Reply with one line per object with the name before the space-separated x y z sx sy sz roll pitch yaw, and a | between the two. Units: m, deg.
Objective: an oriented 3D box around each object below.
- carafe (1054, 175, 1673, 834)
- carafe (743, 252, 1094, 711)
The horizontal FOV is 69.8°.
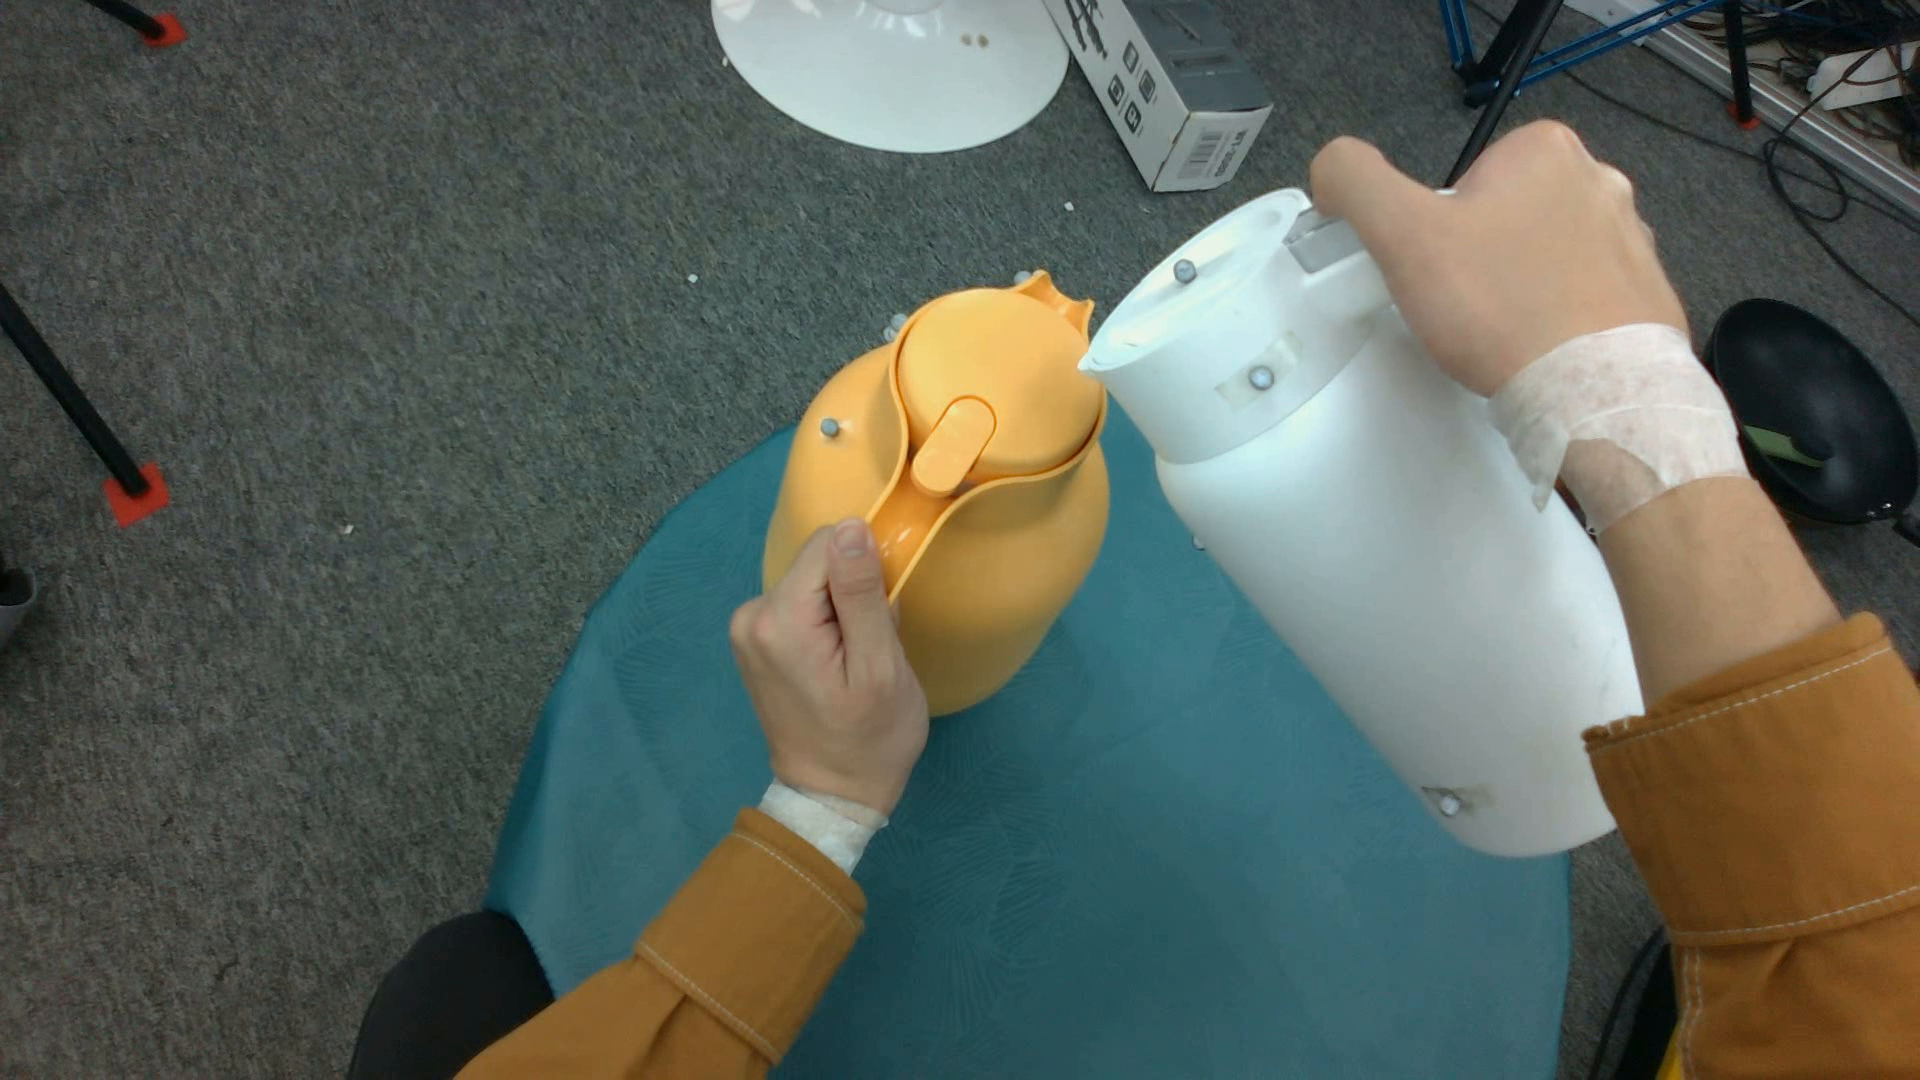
carafe | 0.175 -0.015 0.535 0.268 0.172 0.124 50 51 -16
carafe | -0.028 -0.013 0.678 0.163 0.259 0.203 34 59 5
